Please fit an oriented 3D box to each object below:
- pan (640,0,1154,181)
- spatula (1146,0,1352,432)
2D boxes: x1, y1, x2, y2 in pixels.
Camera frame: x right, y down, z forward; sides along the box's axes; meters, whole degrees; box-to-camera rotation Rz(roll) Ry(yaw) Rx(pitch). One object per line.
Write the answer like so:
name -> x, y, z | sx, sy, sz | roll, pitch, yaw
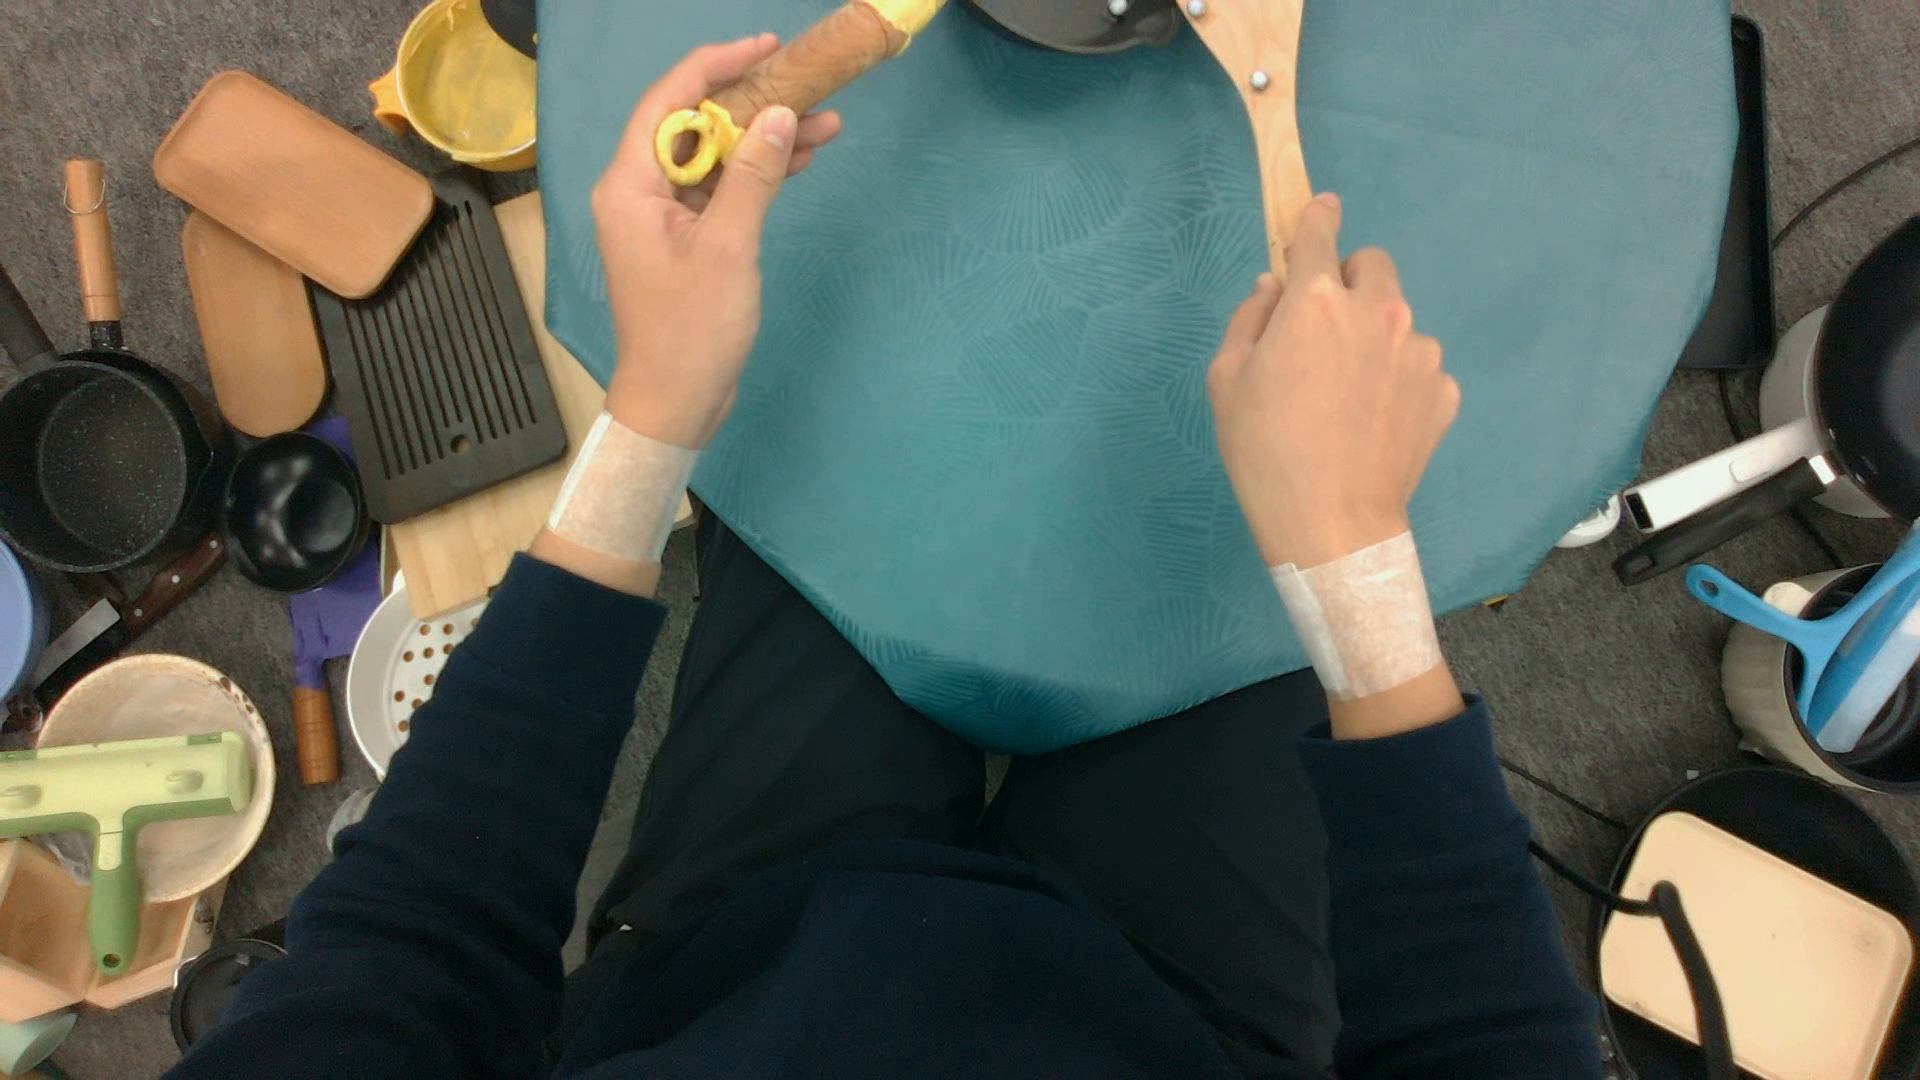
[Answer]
pan -> -0.026, -0.249, 0.611 | 0.325, 0.049, 0.169 | -44, 101, -26
spatula -> 0.124, -0.194, 0.611 | 0.080, 0.016, 0.328 | -18, 64, 24
